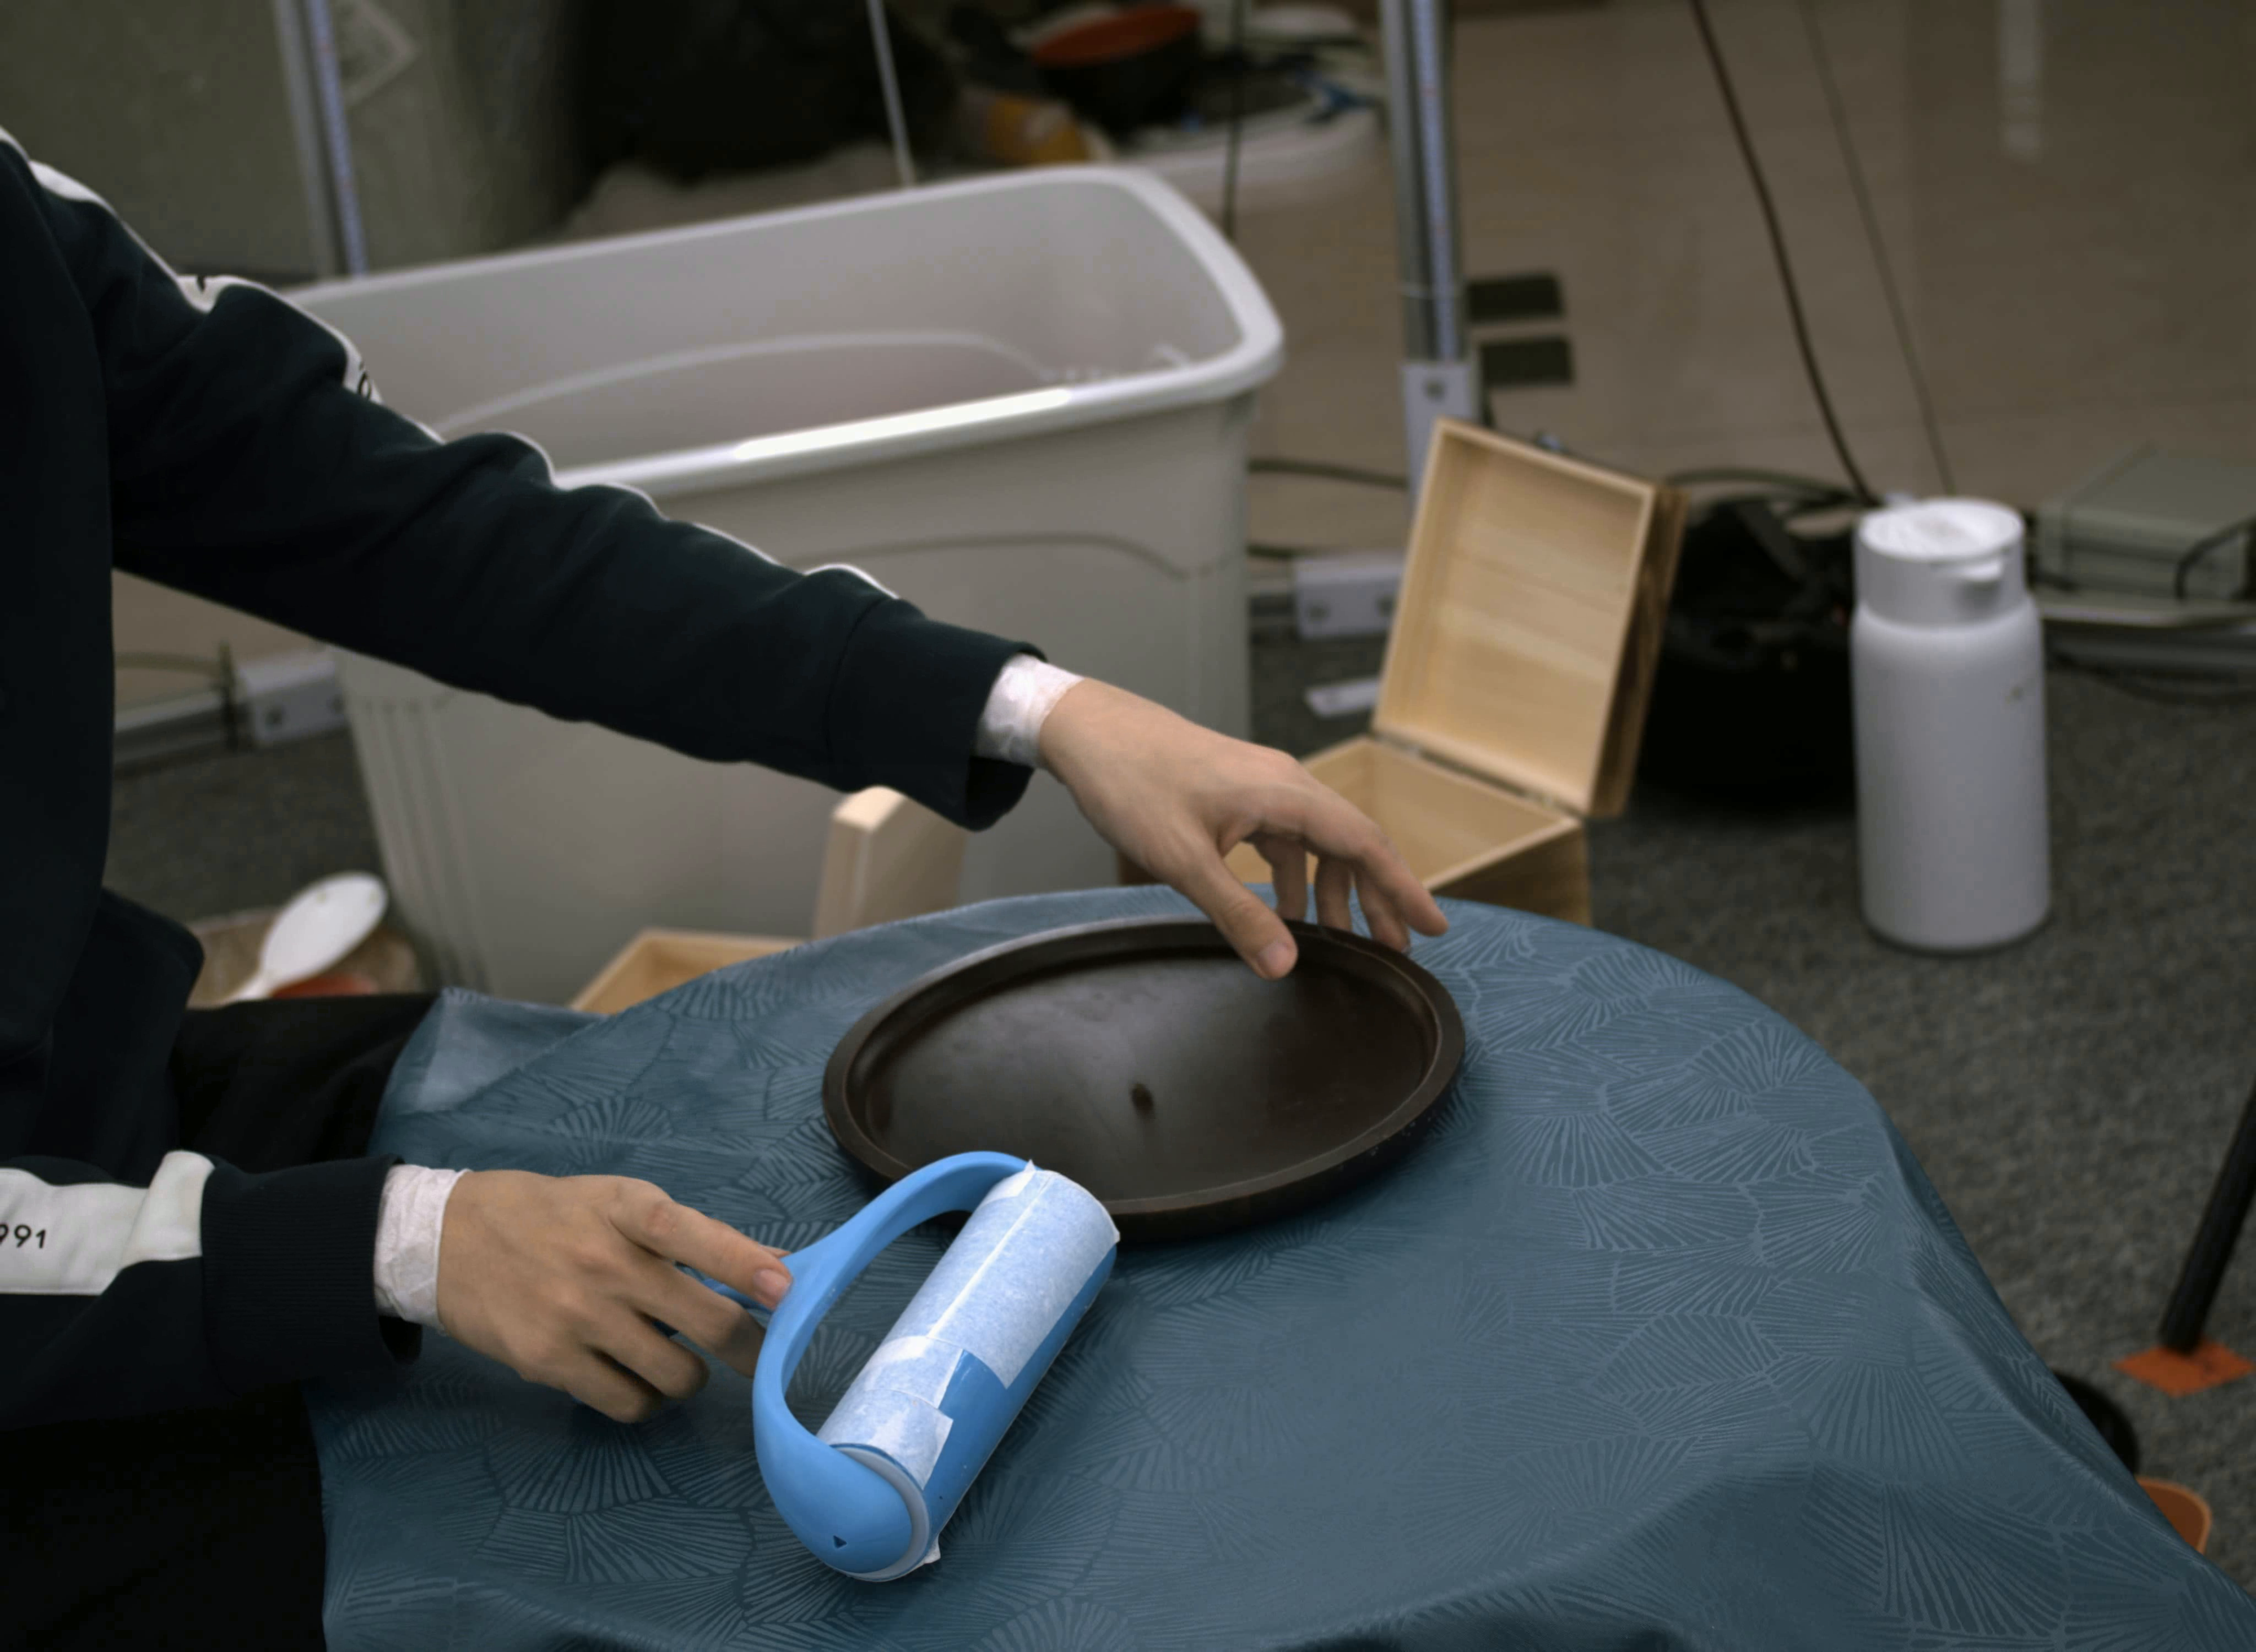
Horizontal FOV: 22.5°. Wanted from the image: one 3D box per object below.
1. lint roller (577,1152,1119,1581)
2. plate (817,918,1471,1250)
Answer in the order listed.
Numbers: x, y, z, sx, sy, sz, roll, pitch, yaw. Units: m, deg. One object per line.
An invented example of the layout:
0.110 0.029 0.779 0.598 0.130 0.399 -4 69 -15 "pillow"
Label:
-0.115 0.186 2.003 0.180 0.069 0.225 3 28 16 "lint roller"
0.007 0.098 2.201 0.254 0.029 0.251 -5 26 2 "plate"
